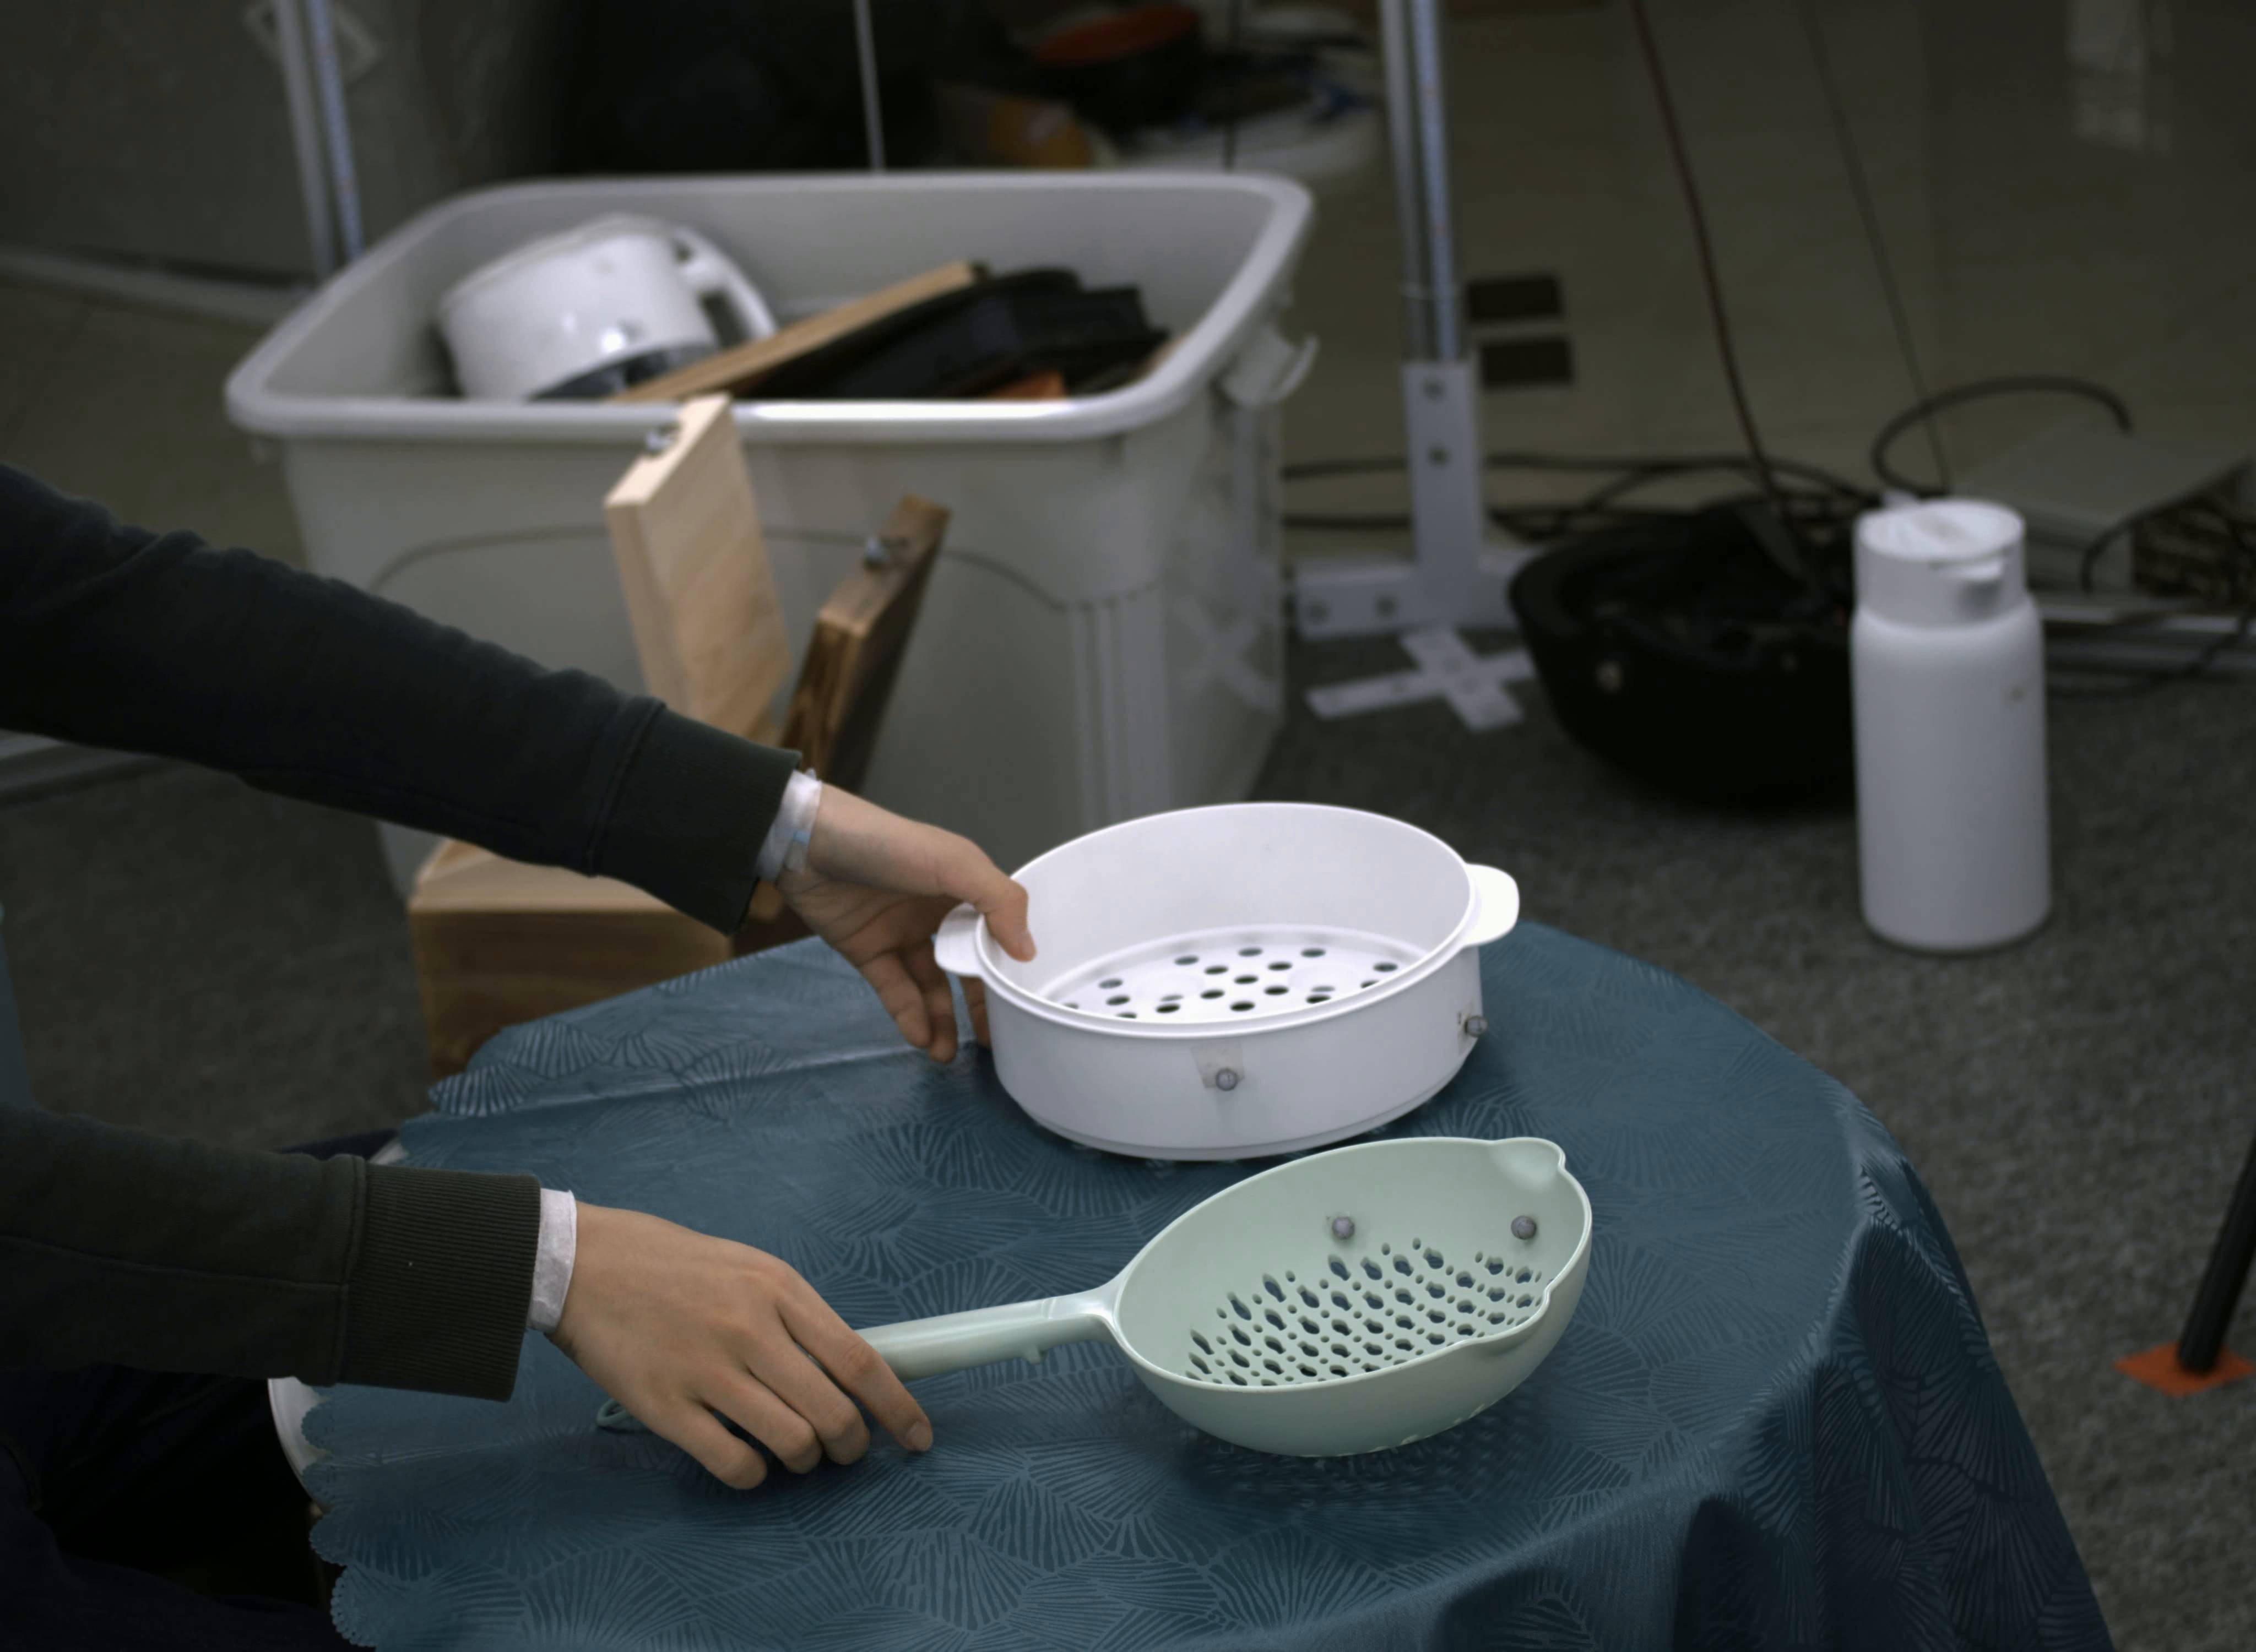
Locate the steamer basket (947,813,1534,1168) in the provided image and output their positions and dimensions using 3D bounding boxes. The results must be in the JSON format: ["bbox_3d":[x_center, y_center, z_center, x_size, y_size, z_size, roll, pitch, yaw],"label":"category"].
[{"bbox_3d":[0.046,0.064,2.226,0.230,0.070,0.199,-4,24,6],"label":"steamer basket"}]

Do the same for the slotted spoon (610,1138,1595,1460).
[{"bbox_3d":[-0.013,0.178,1.995,0.358,0.076,0.167,-2,25,9],"label":"slotted spoon"}]
